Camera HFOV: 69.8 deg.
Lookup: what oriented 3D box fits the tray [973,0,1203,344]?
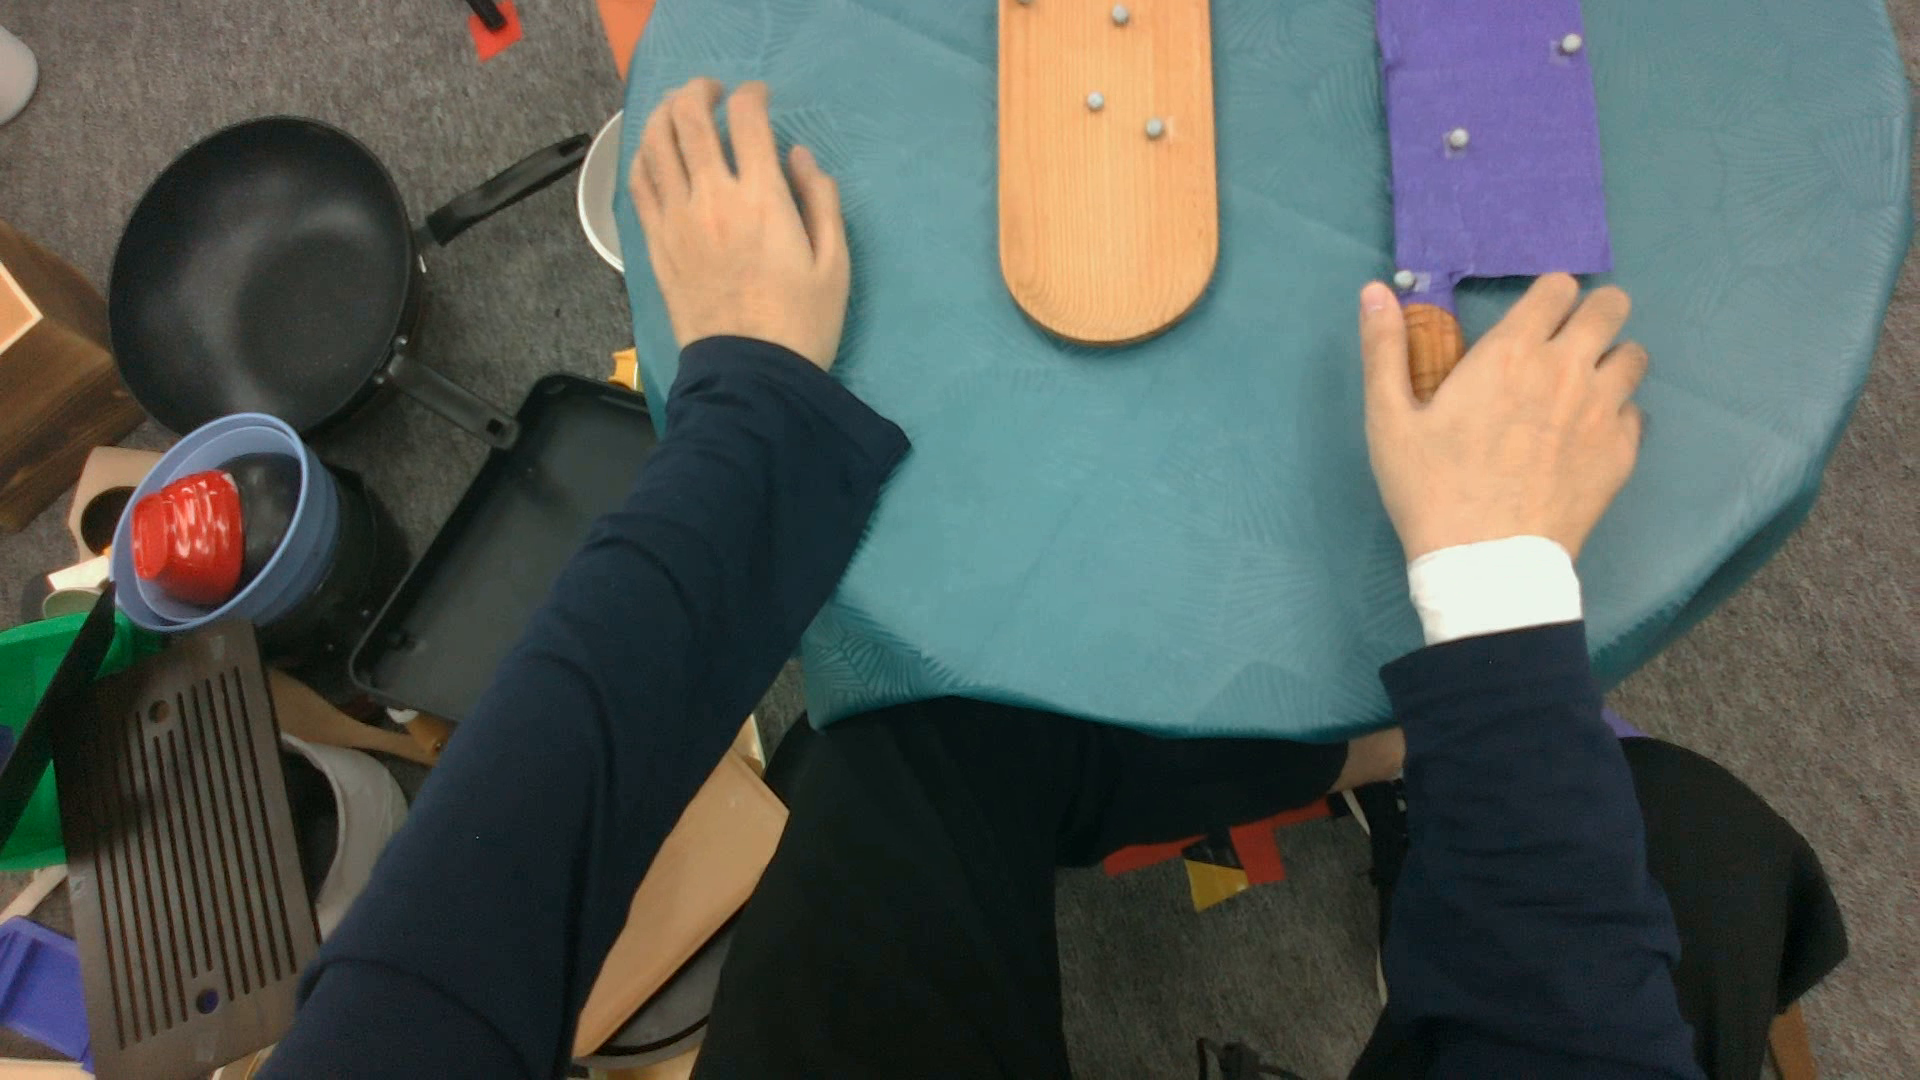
[{"bbox_3d":[0.059,-0.201,0.655,0.101,0.020,0.231,-4,75,7],"label":"tray"}]

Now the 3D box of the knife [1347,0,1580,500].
[{"bbox_3d":[0.227,-0.172,0.619,0.104,0.032,0.316,-2,73,7],"label":"knife"}]
